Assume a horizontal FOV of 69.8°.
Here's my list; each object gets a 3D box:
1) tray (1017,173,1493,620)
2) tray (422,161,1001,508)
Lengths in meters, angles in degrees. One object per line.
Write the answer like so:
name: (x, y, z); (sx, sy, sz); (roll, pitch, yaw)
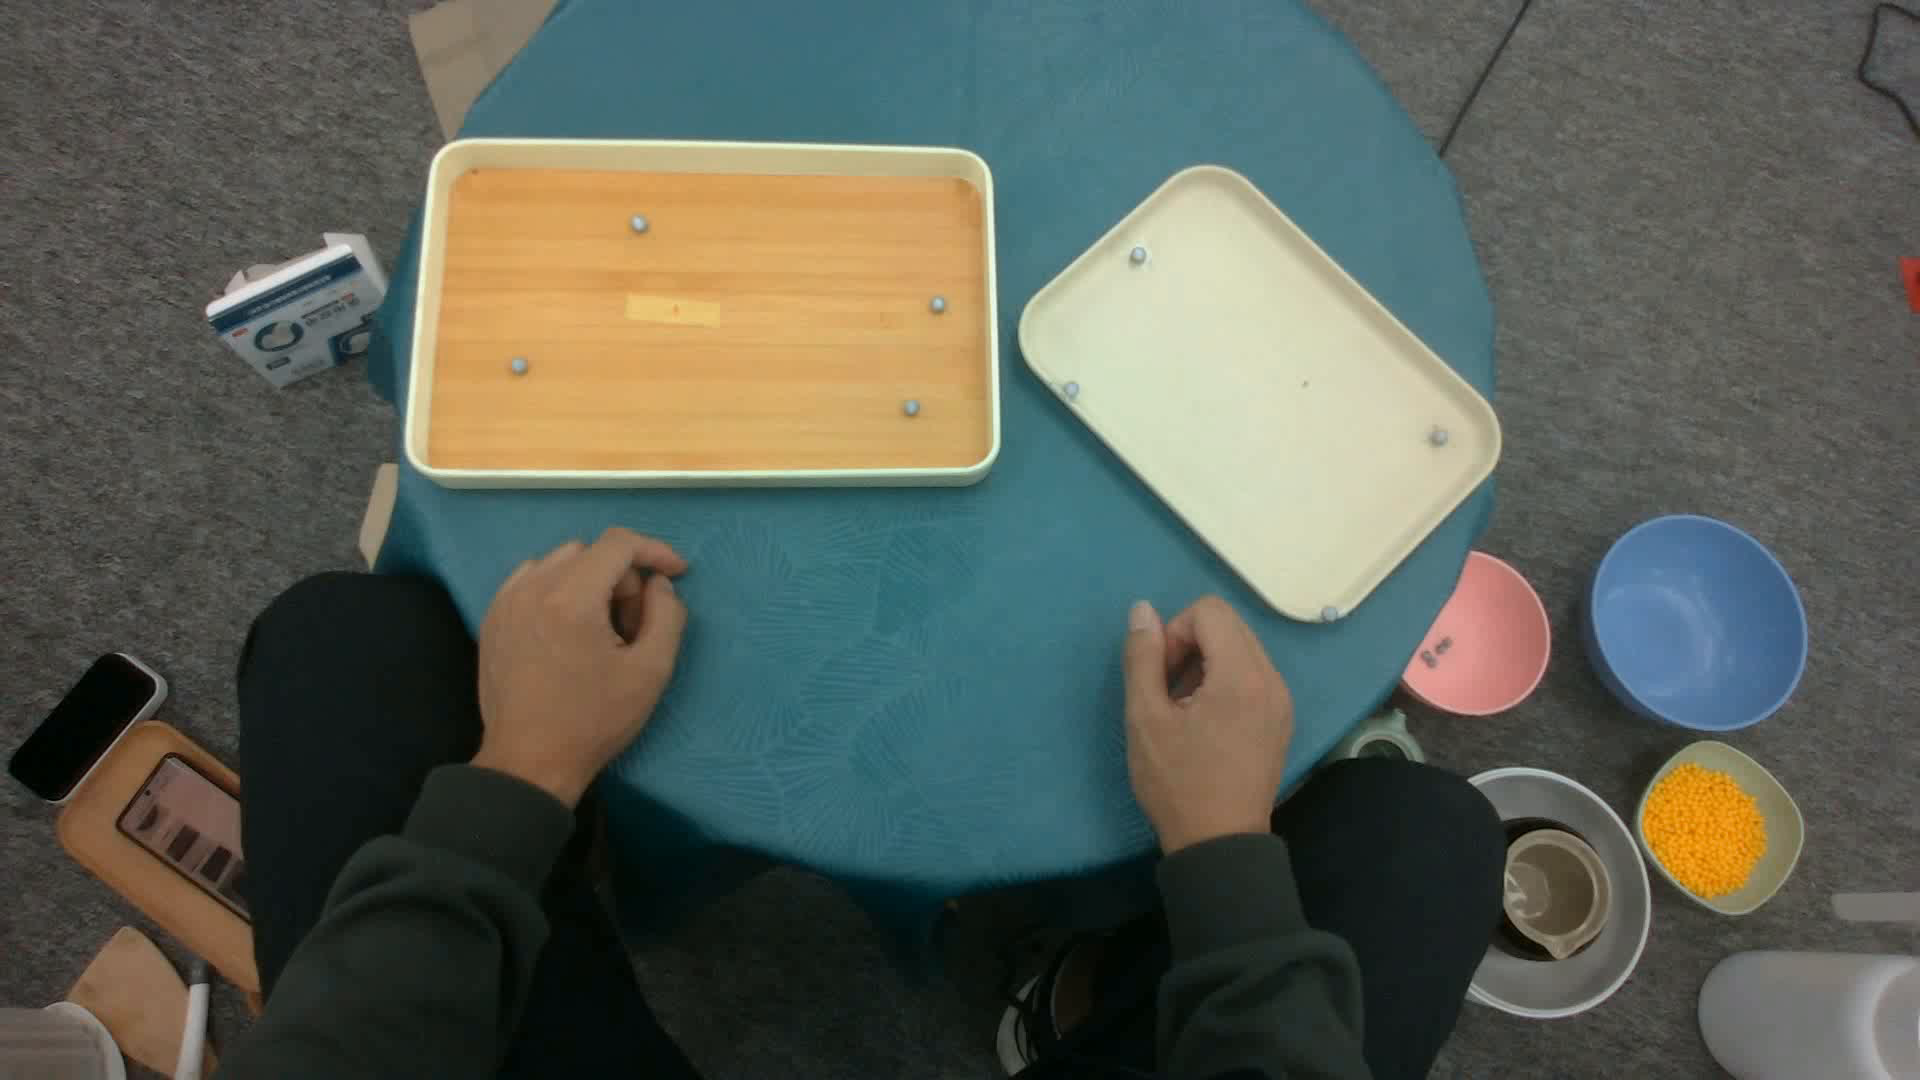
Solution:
tray: (0.161, -0.082, 0.761); (0.171, 0.017, 0.240); (-43, 80, -14)
tray: (-0.131, -0.114, 0.749); (0.300, 0.027, 0.192); (-2, 74, -4)
